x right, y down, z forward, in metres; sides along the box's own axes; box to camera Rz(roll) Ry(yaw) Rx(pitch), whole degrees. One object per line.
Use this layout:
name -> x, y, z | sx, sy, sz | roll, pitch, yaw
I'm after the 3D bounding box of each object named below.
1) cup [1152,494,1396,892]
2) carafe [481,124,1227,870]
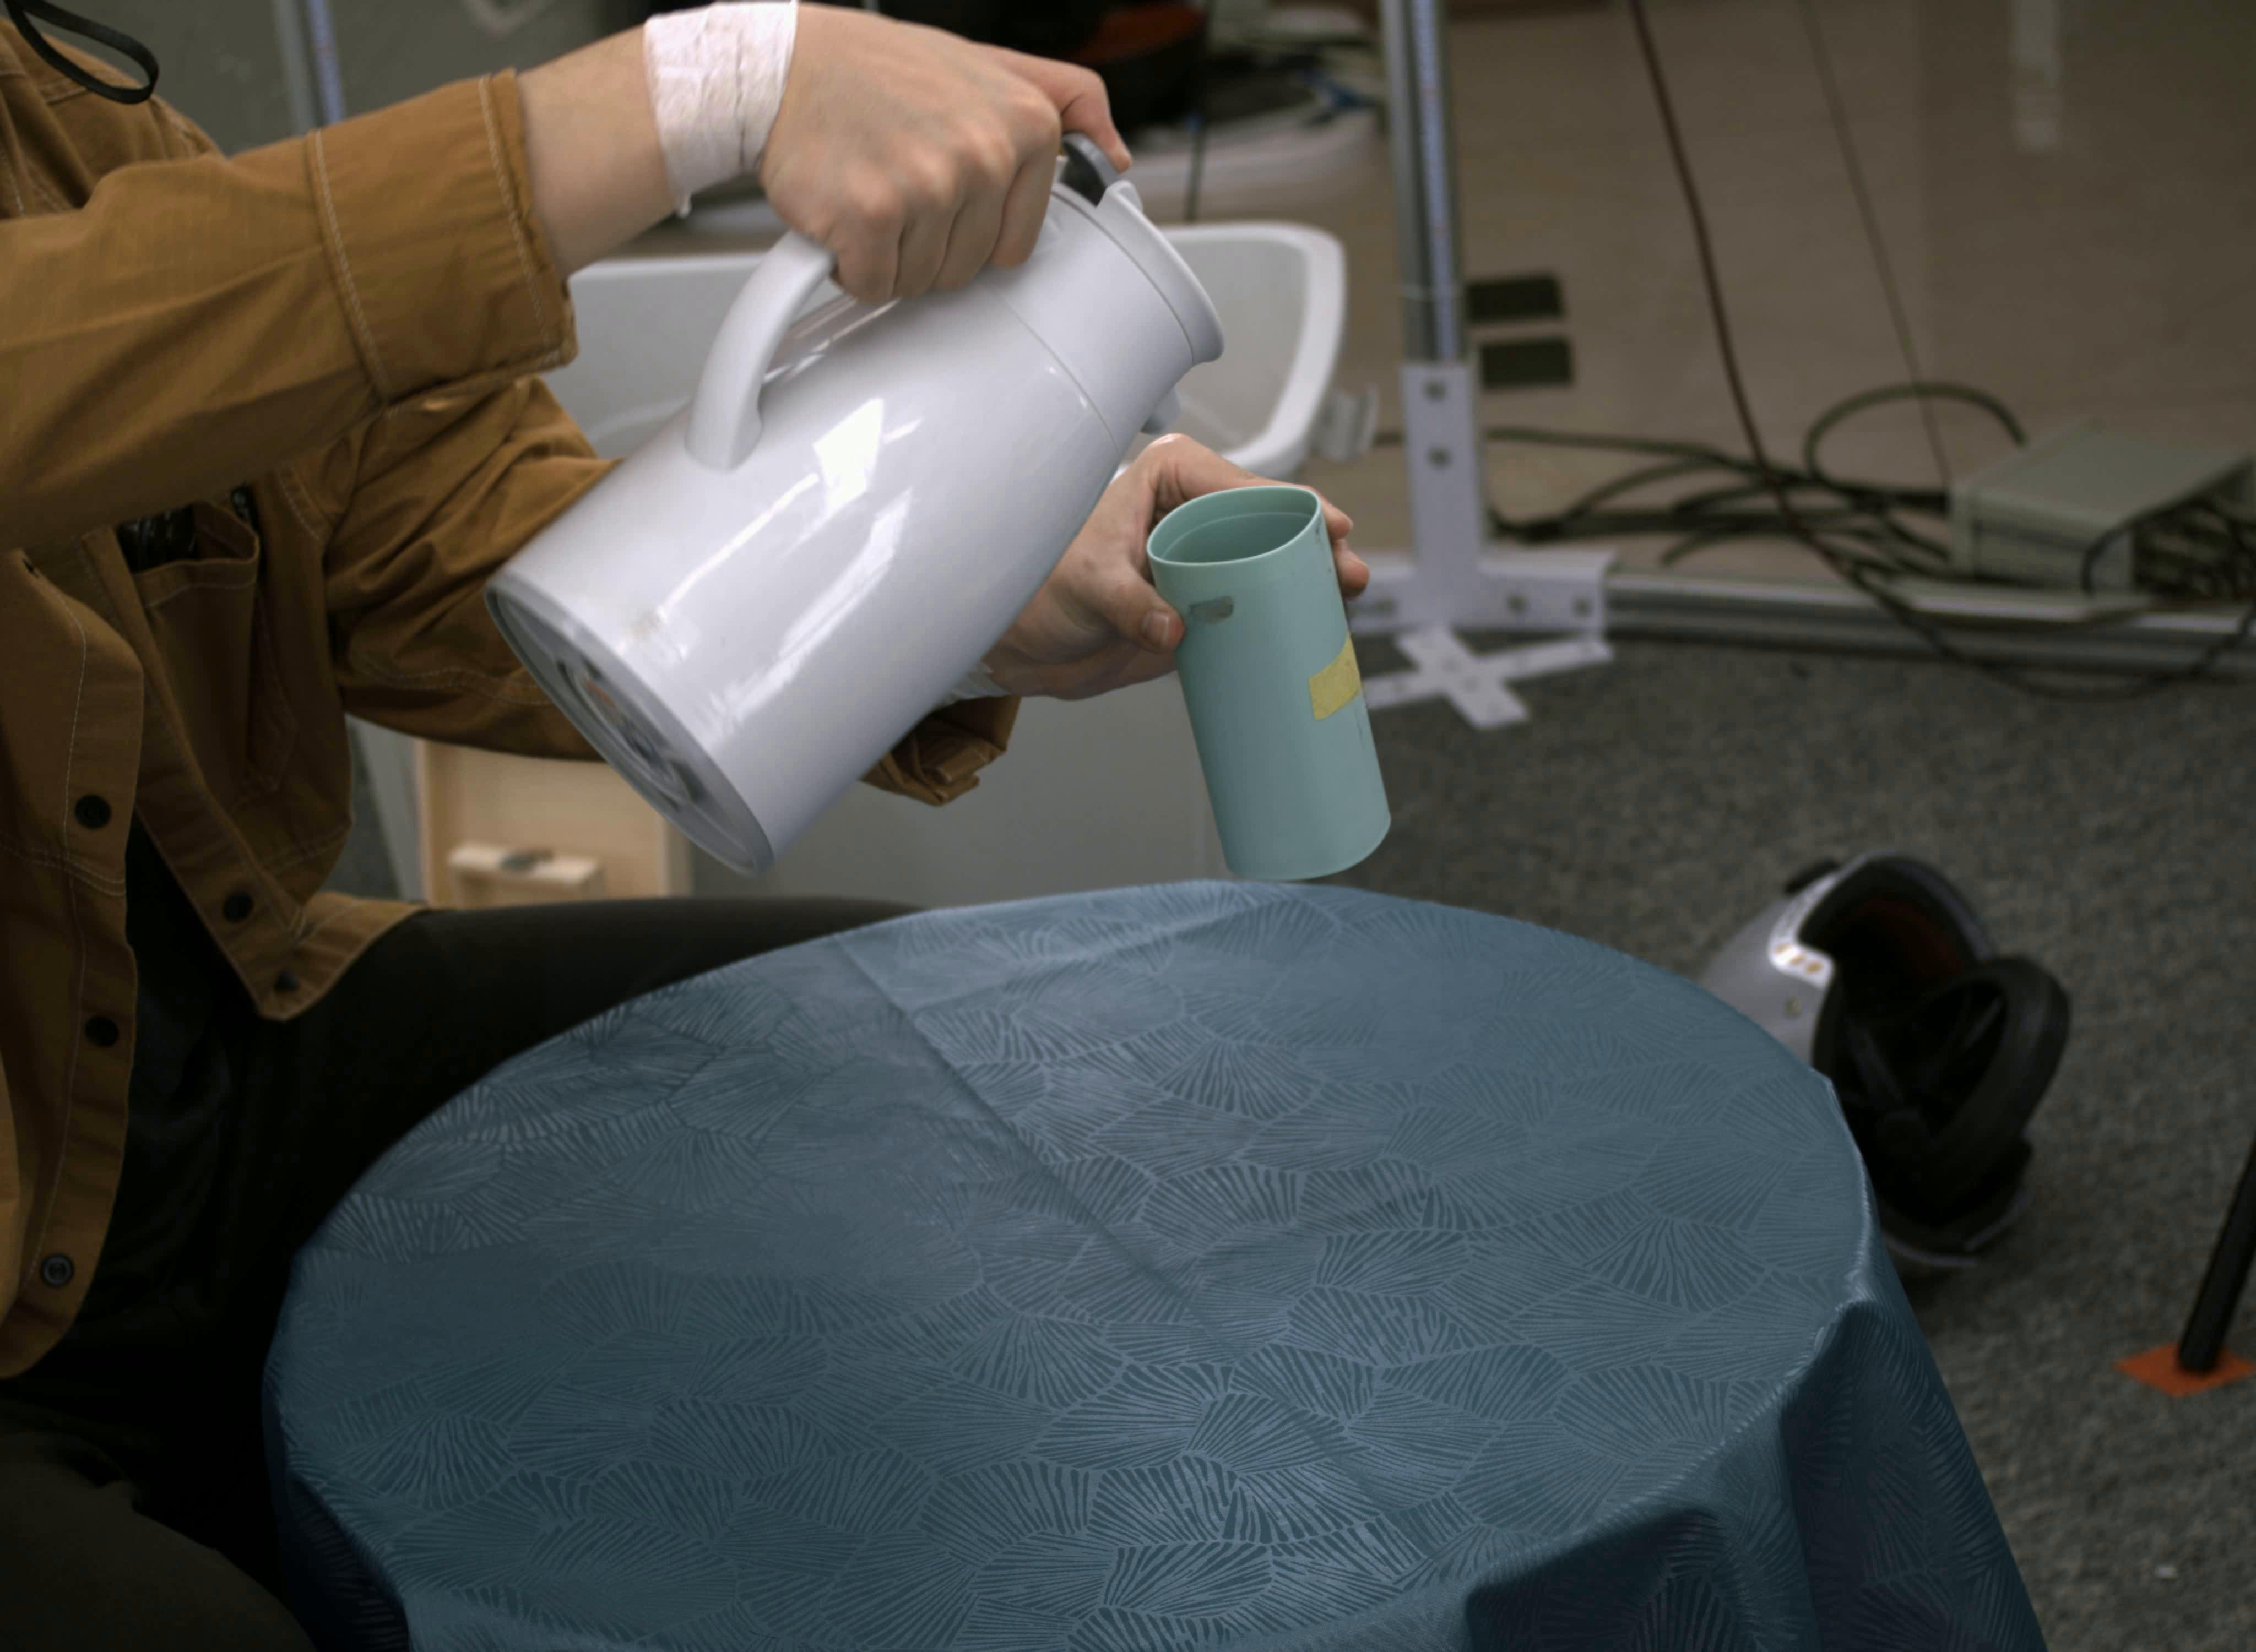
cup -> 0.053, -0.048, 2.052 | 0.066, 0.134, 0.065 | -11, 28, 6
carafe -> -0.087, -0.126, 1.880 | 0.247, 0.170, 0.131 | -43, 49, -11
